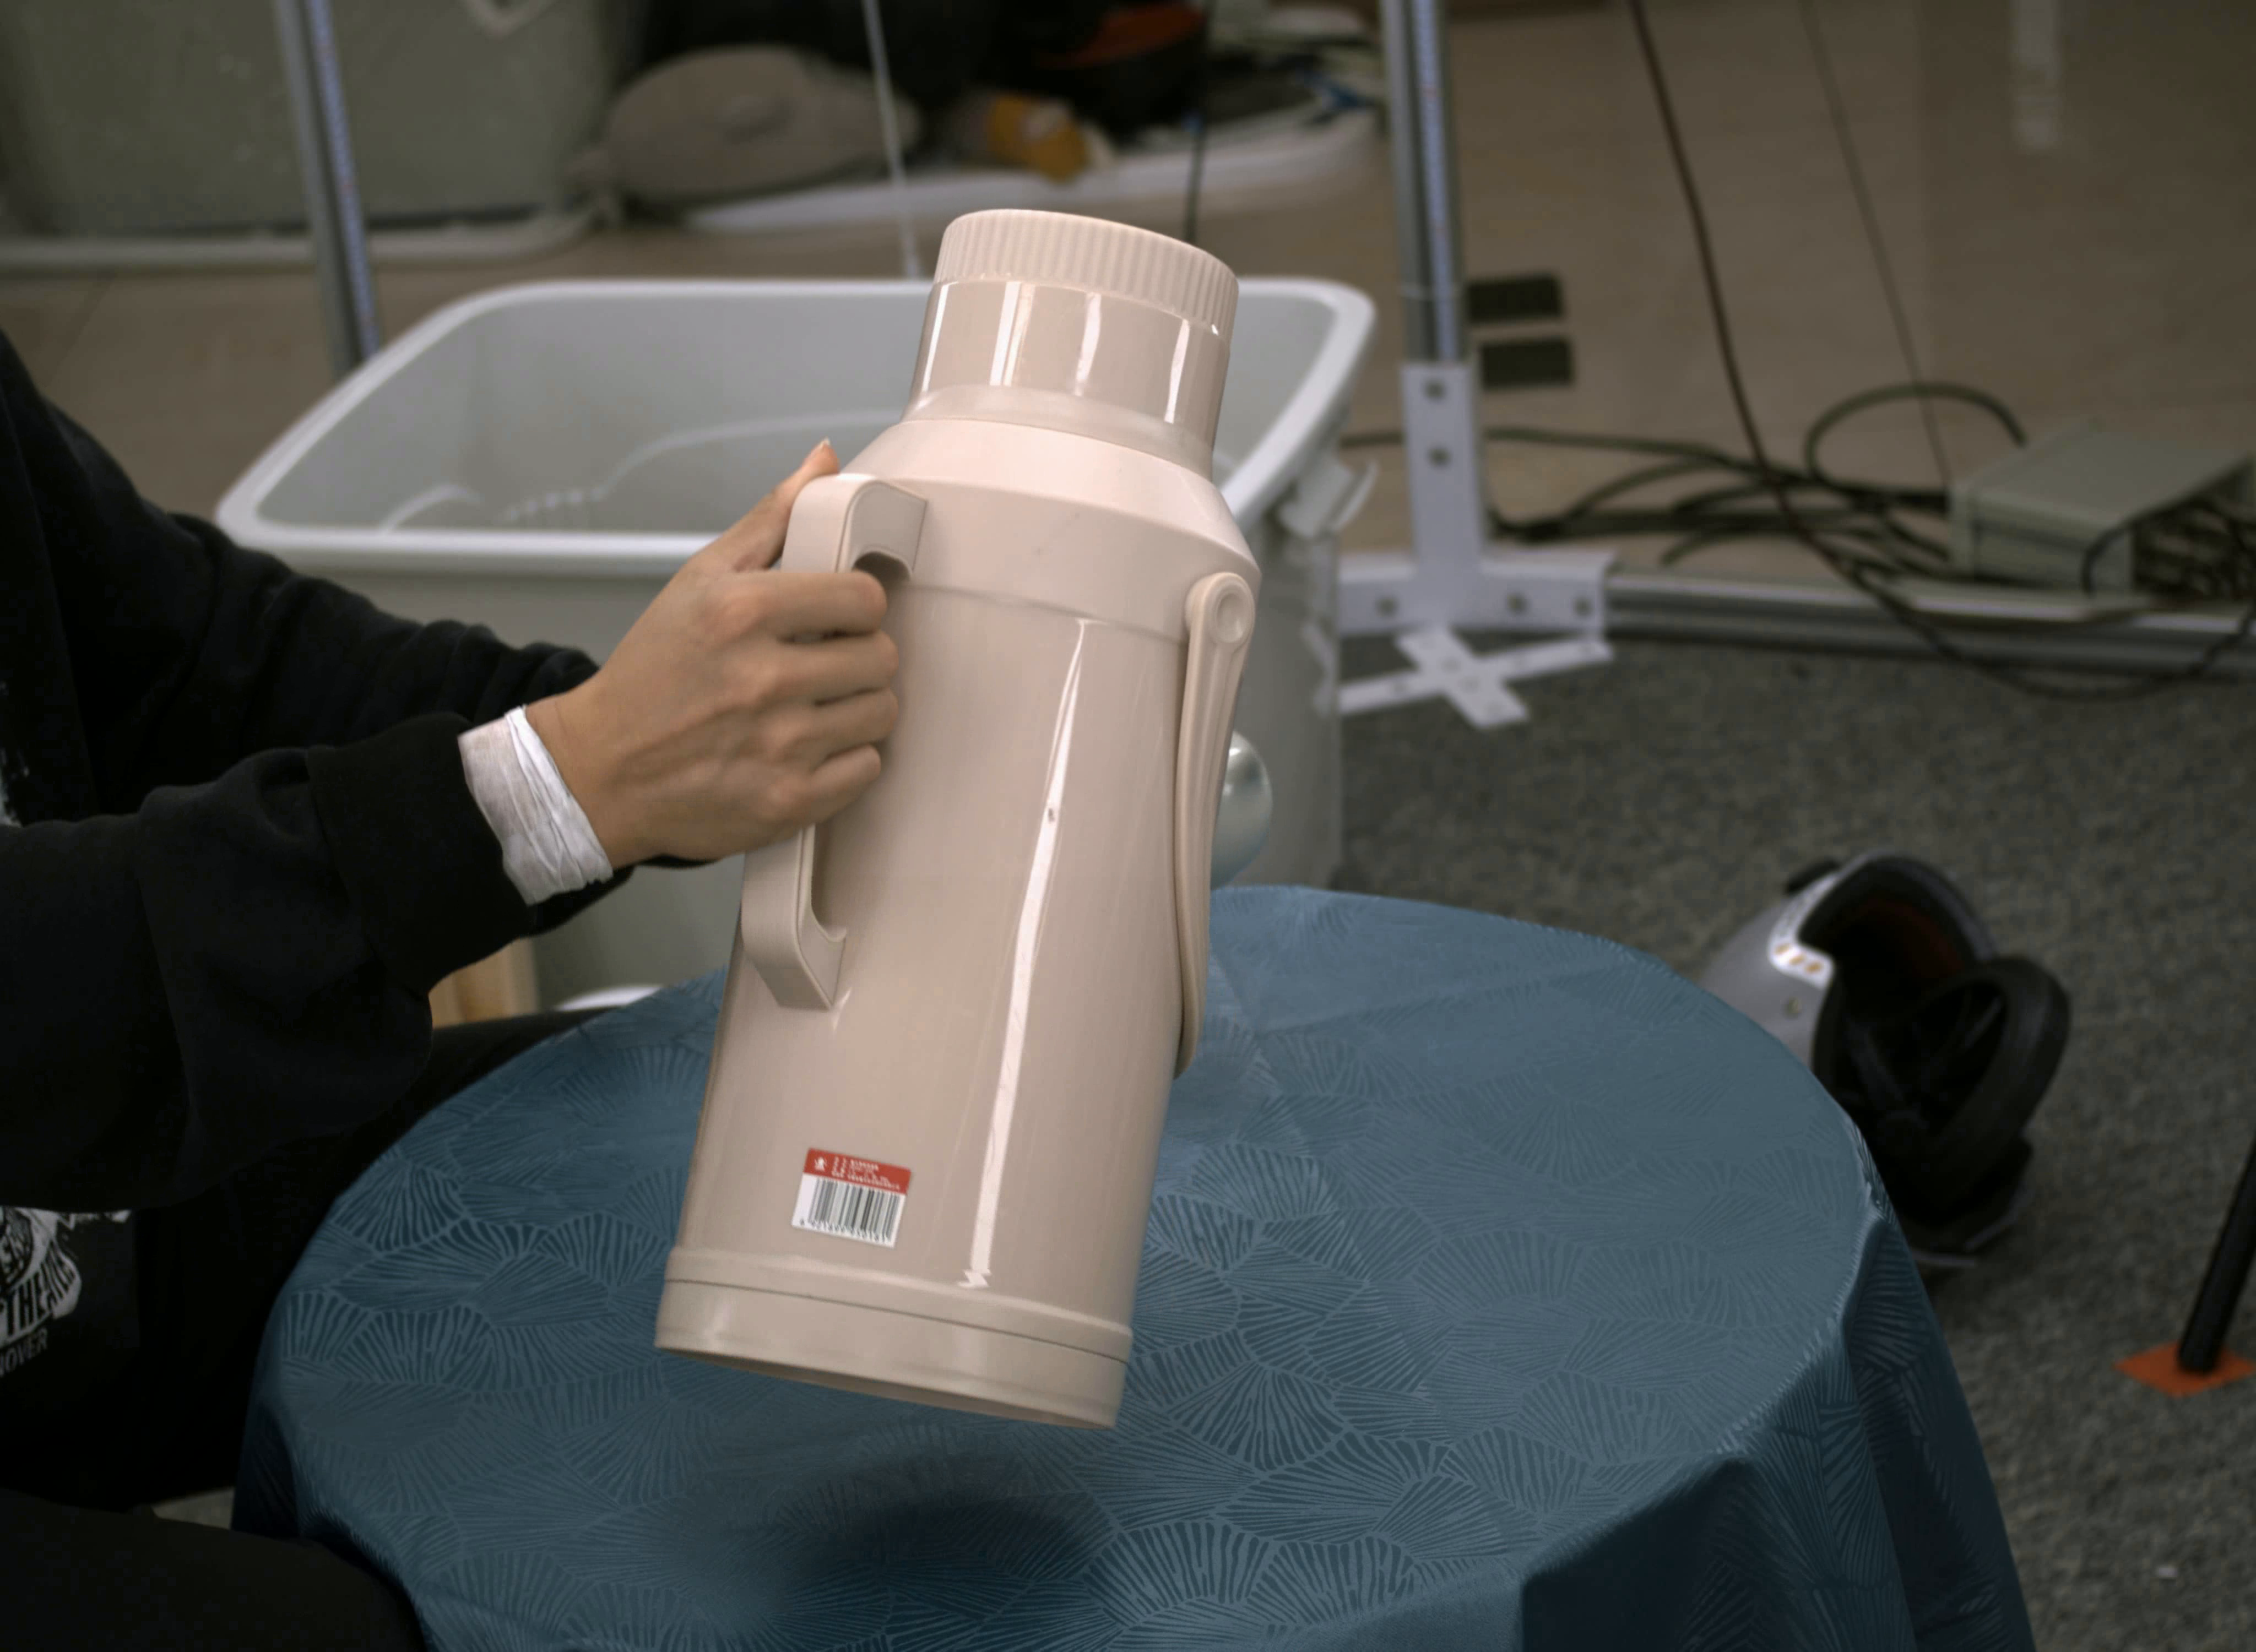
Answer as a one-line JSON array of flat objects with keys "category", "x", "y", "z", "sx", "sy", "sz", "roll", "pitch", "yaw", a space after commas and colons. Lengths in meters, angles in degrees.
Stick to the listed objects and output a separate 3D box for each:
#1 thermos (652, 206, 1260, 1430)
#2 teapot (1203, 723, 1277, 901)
[{"category": "thermos", "x": -0.058, "y": -0.006, "z": 1.925, "sx": 0.174, "sy": 0.405, "sz": 0.208, "roll": 8, "pitch": -6, "yaw": 36}, {"category": "teapot", "x": 0.004, "y": -0.005, "z": 2.200, "sx": 0.127, "sy": 0.060, "sz": 0.091, "roll": 4, "pitch": 26, "yaw": 33}]
